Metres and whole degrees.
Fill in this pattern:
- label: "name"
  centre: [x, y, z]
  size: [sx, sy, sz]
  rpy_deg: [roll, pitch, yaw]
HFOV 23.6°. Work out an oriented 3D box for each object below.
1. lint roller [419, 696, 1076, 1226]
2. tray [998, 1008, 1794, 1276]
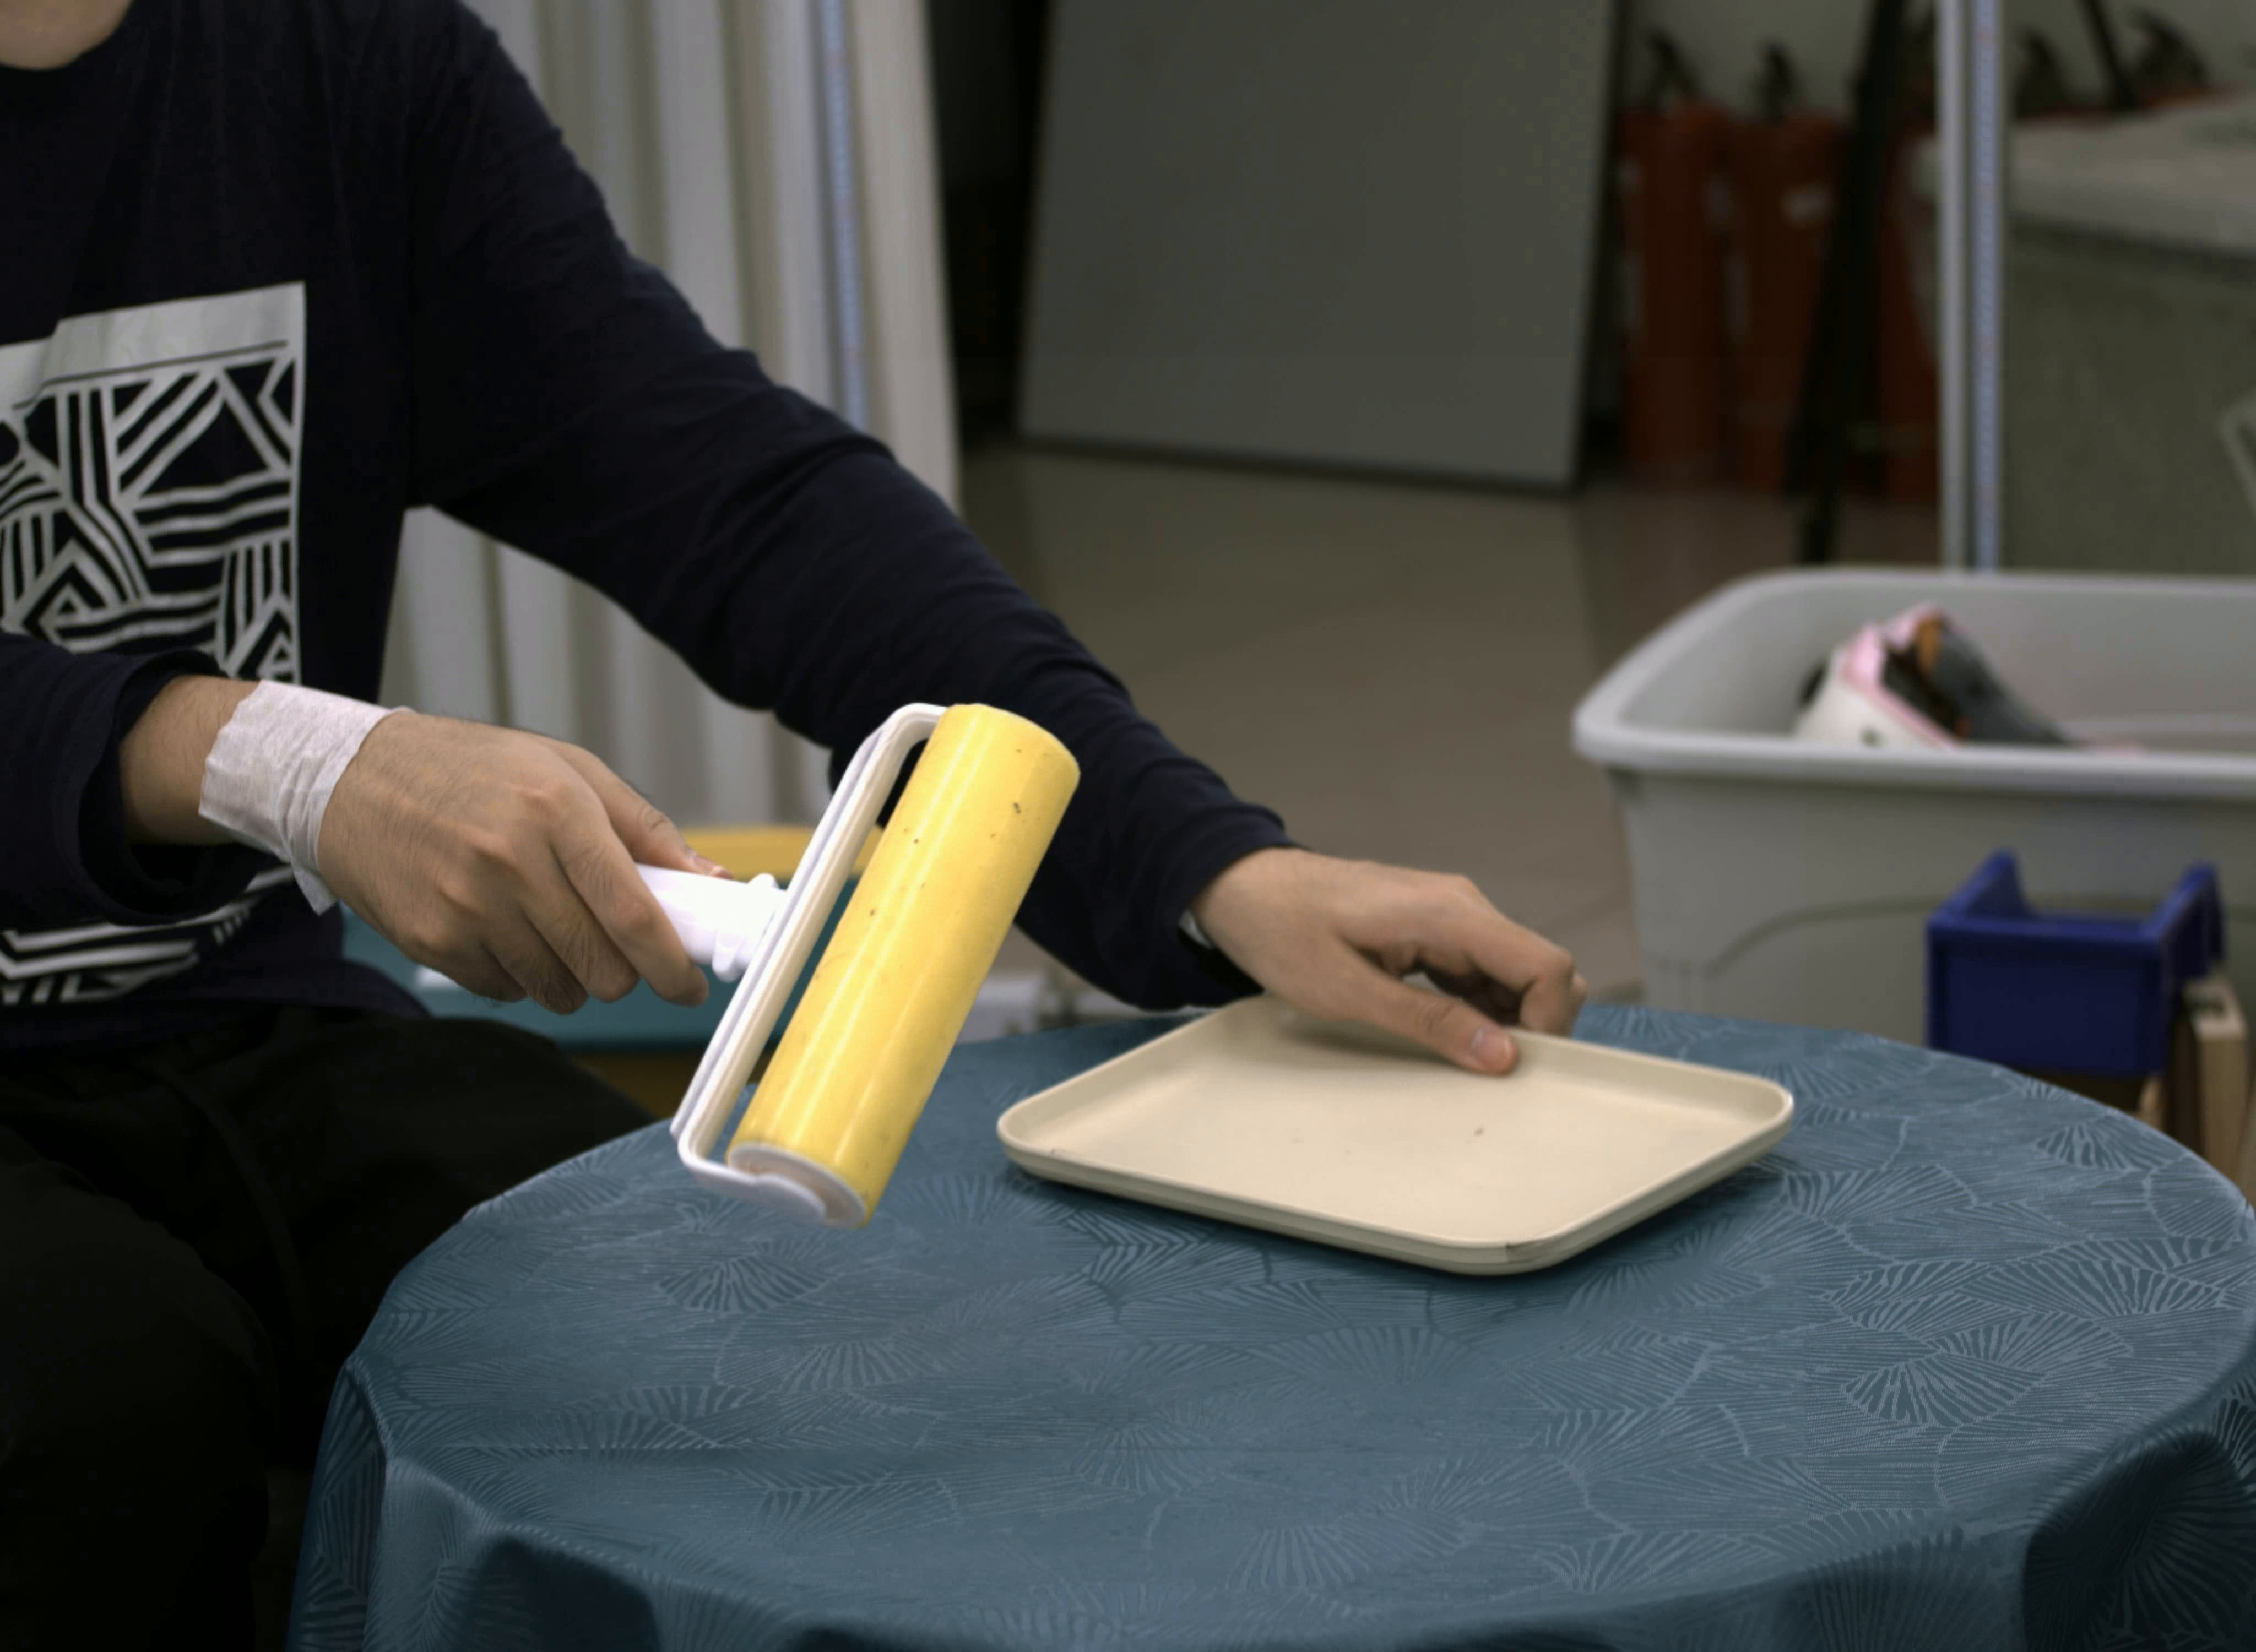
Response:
- label: "lint roller"
  centre: [-0.131, 0.023, 1.625]
  size: [0.192, 0.051, 0.174]
  rpy_deg: [14, 59, 18]
- label: "tray"
  centre: [0.087, 0.103, 1.775]
  size: [0.242, 0.017, 0.168]
  rpy_deg: [9, 20, 42]
